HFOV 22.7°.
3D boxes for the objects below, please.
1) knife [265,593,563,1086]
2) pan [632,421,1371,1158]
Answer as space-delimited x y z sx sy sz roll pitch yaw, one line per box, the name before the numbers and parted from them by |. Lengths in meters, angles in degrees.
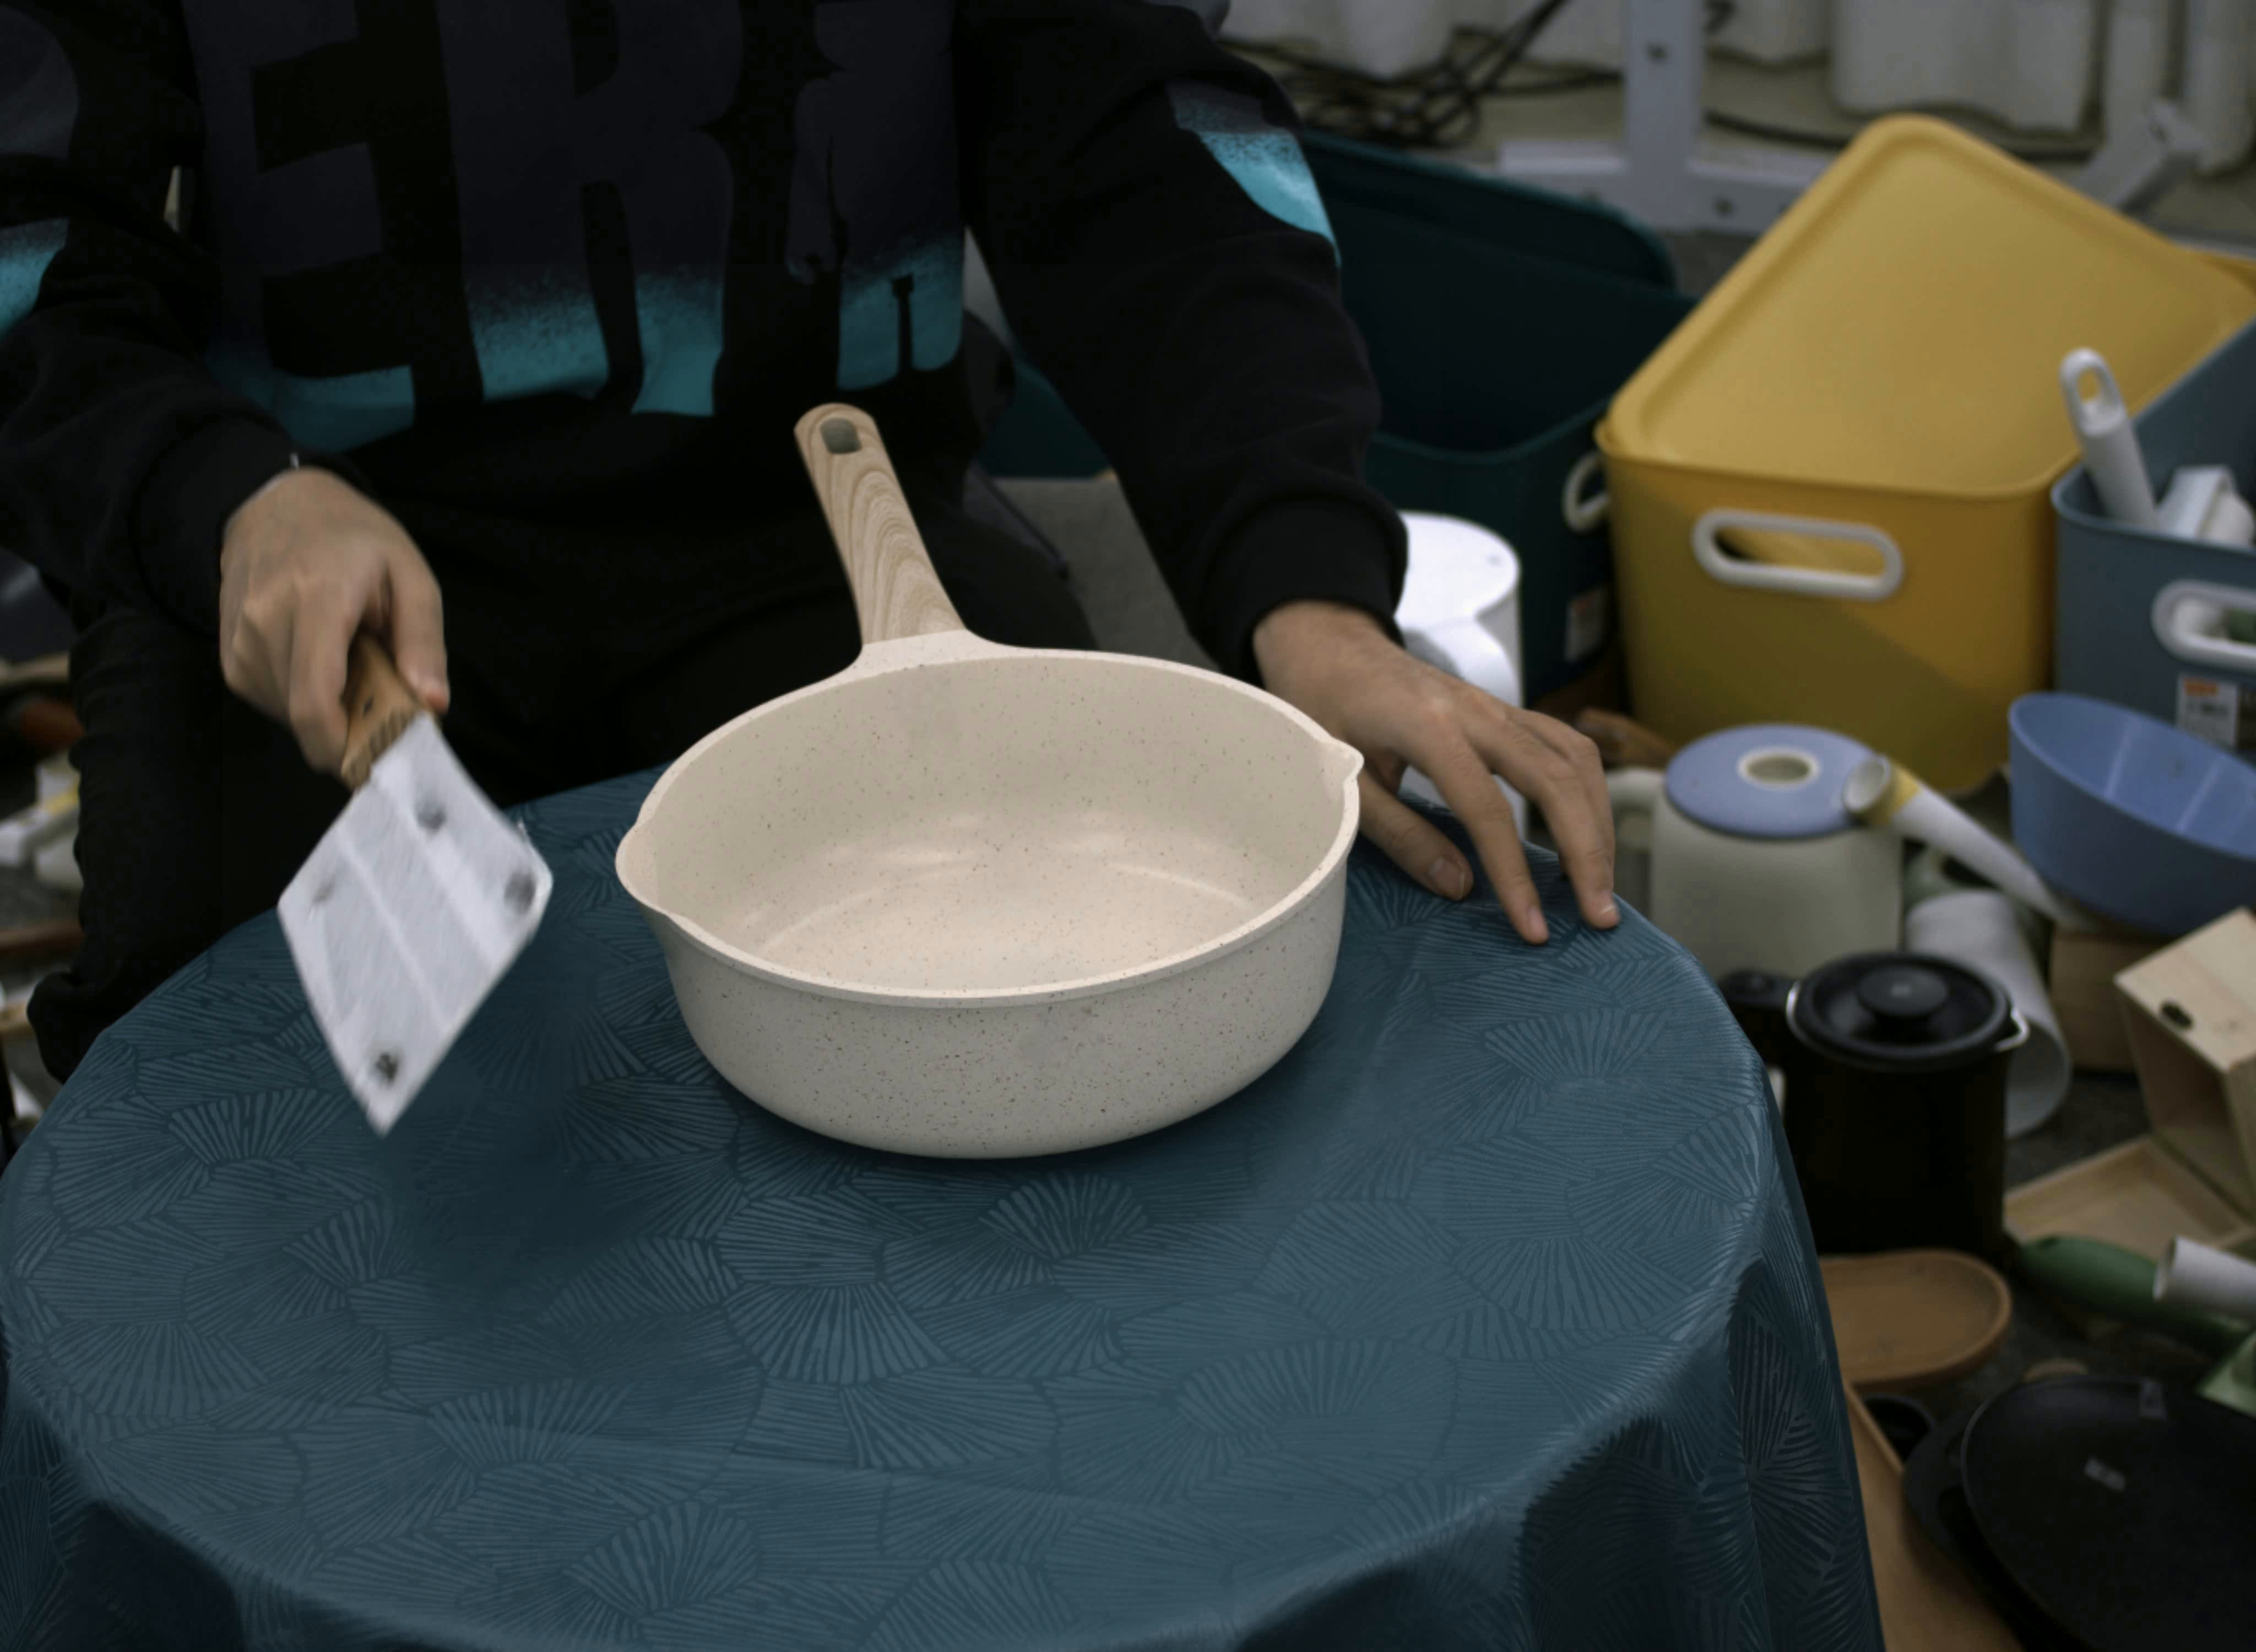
knife | -0.250 -0.009 1.904 0.021 0.113 0.318 35 9 -28
pan | -0.062 -0.017 2.030 0.263 0.101 0.439 -11 29 -10
